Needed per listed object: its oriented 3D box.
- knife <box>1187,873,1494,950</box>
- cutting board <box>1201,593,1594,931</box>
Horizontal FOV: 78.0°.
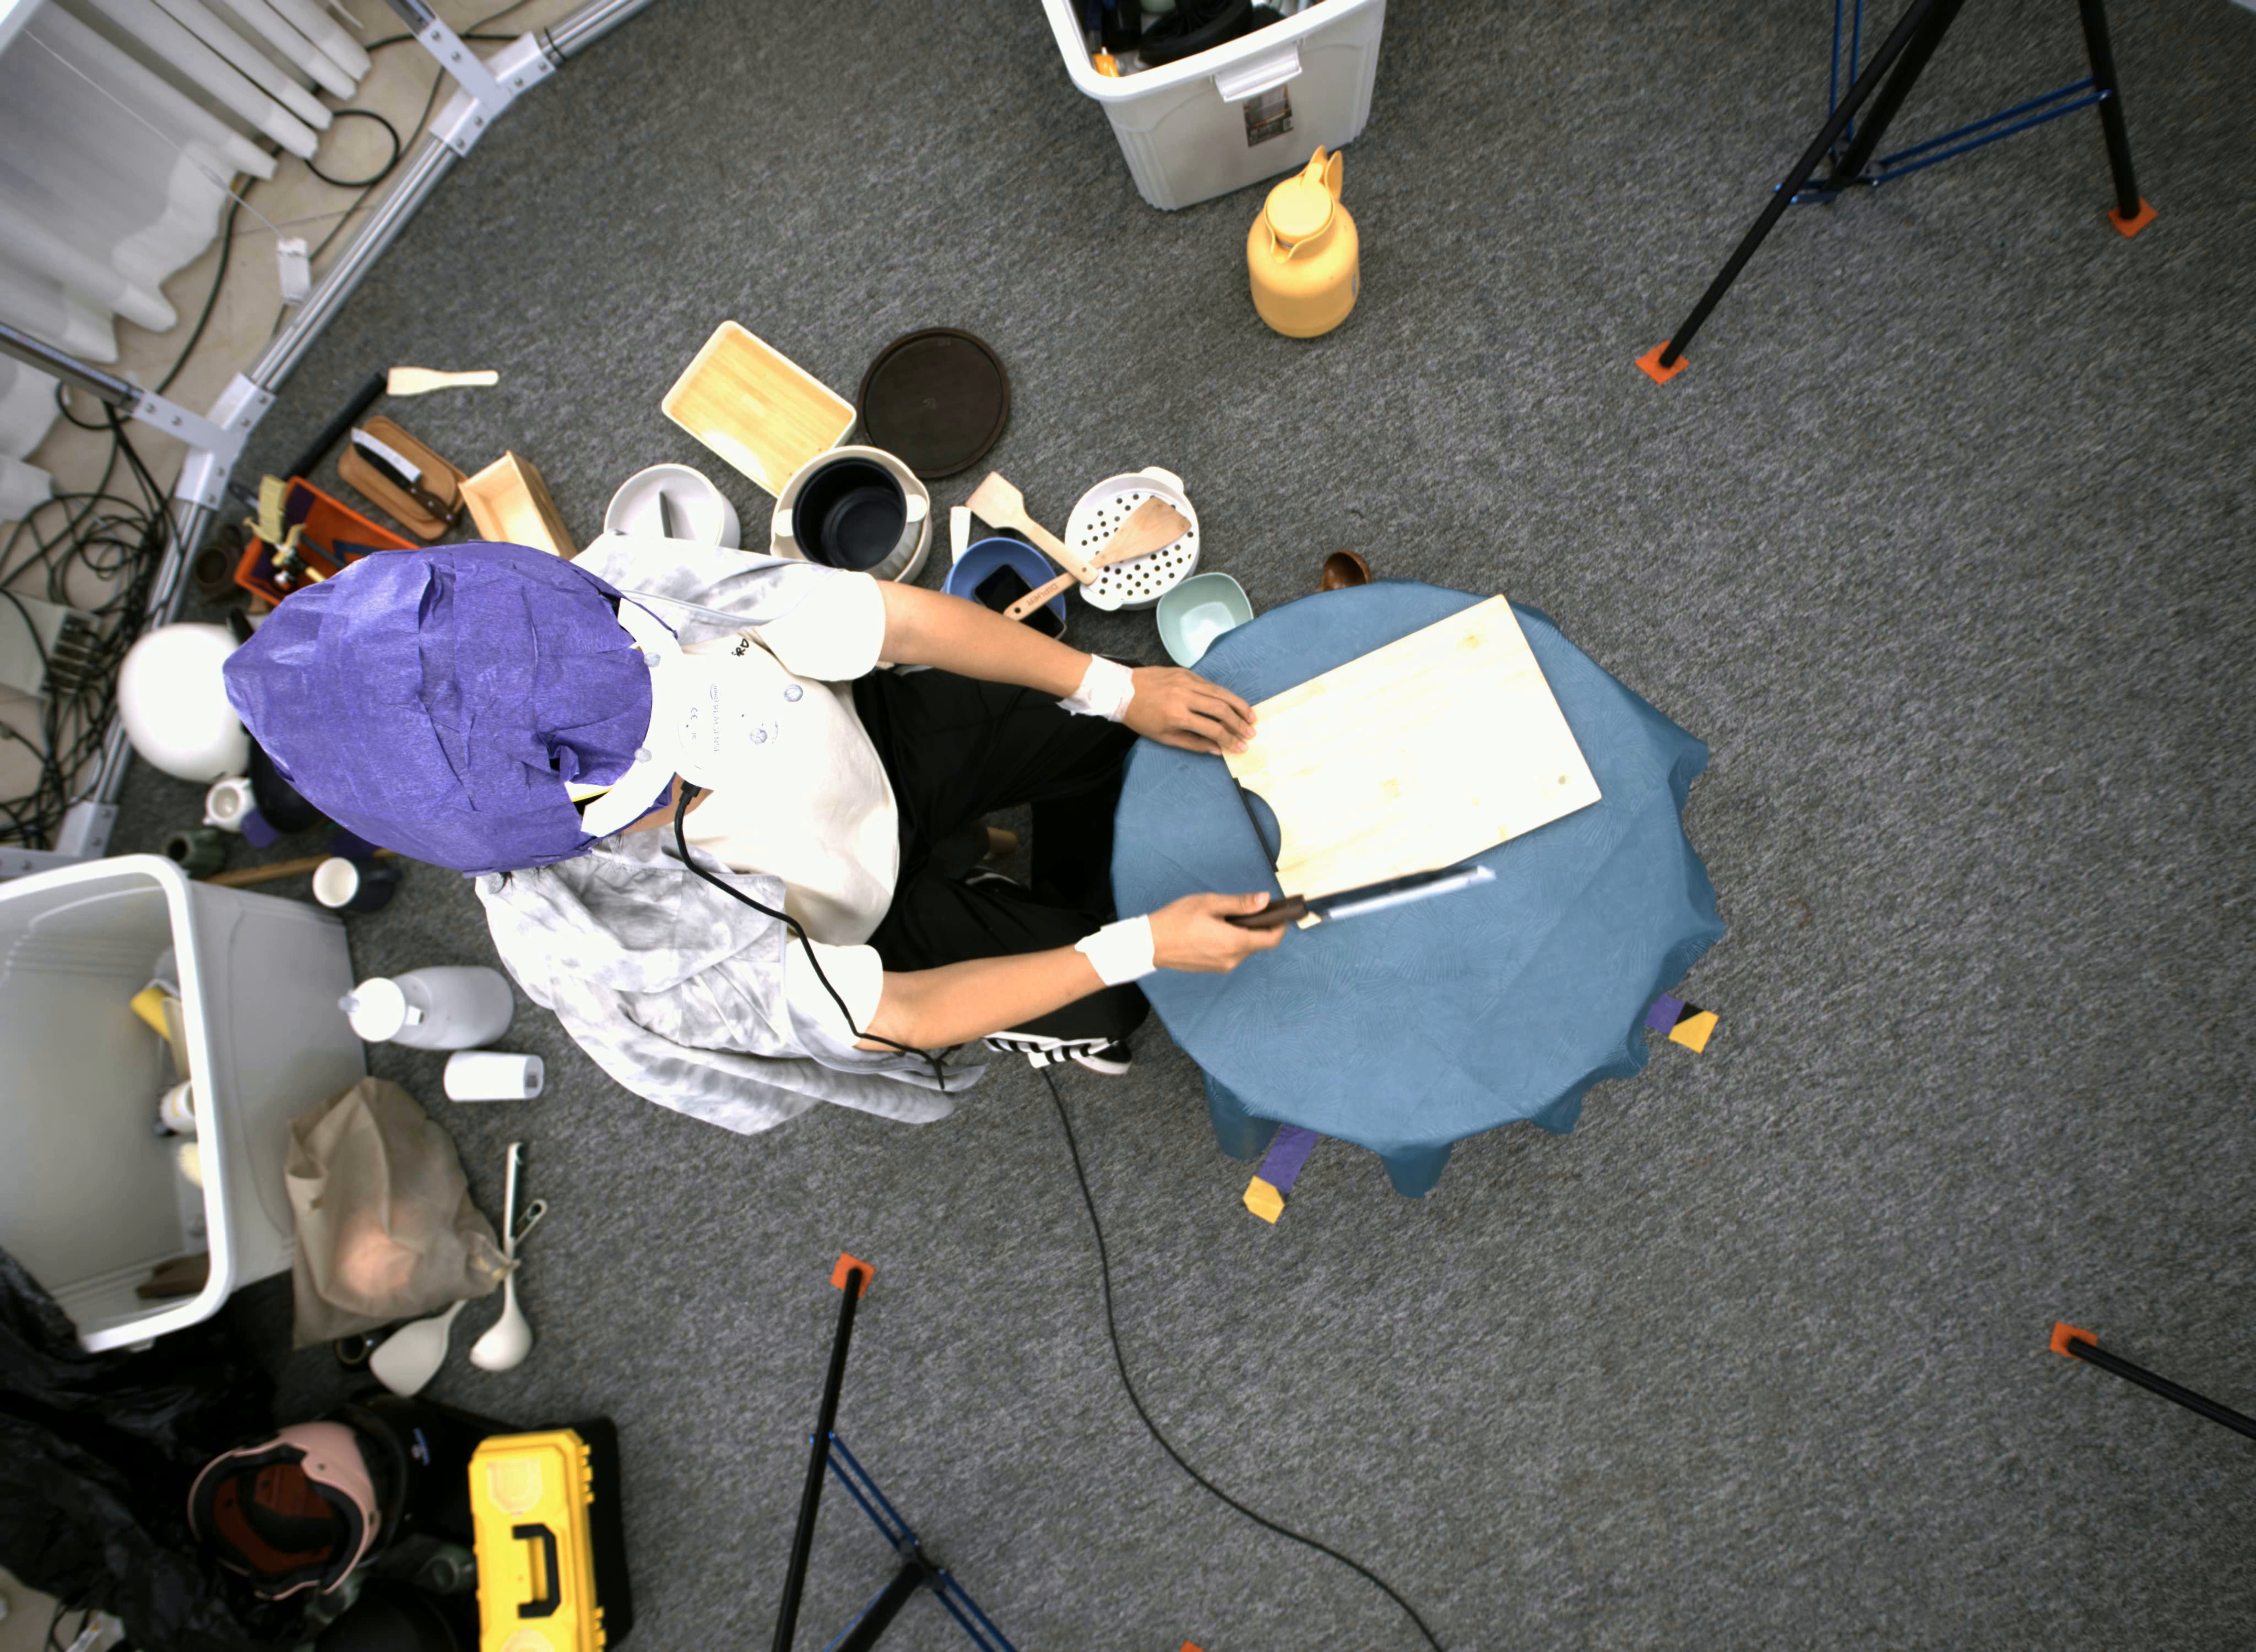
[{"bbox_3d":[0.203,0.082,1.341,0.303,0.069,0.023,-16,61,24],"label":"knife"},{"bbox_3d":[0.283,-0.068,1.455,0.351,0.023,0.249,-25,82,9],"label":"cutting board"}]
